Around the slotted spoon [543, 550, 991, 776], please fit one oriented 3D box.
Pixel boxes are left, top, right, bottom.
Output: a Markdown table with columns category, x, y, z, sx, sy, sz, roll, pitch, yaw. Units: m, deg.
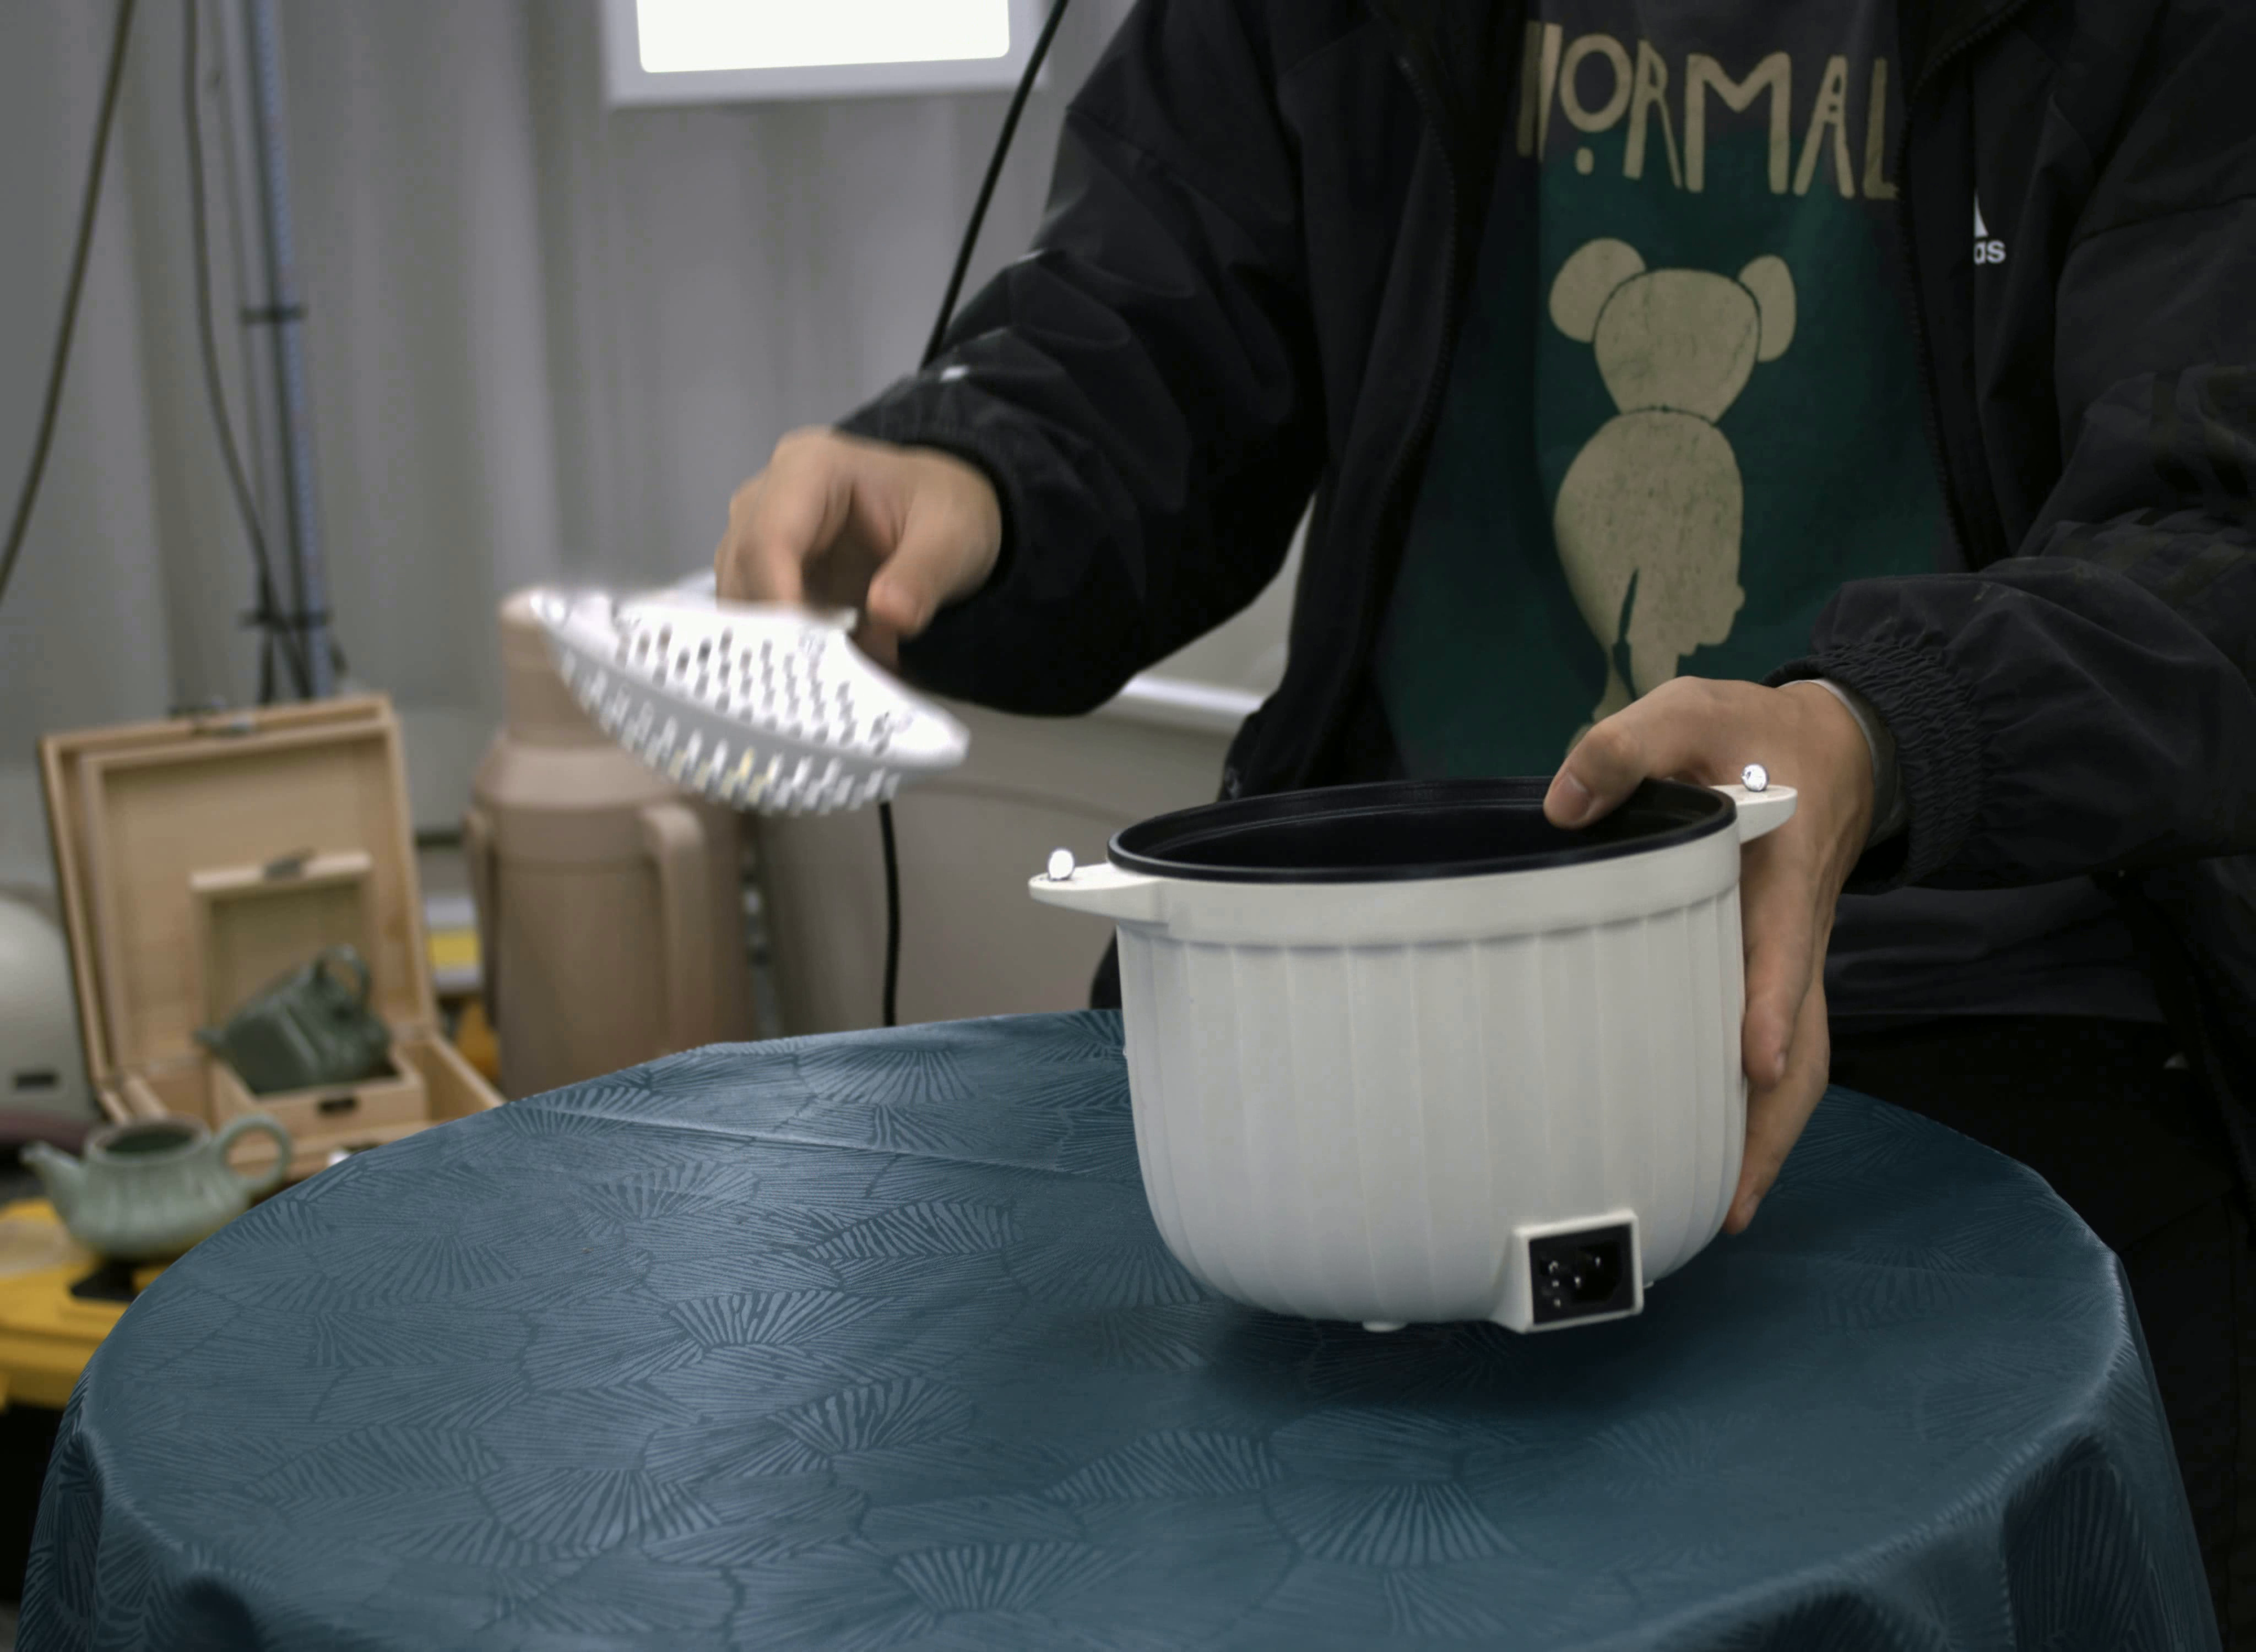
| category | x | y | z | sx | sy | sz | roll | pitch | yaw |
| --- | --- | --- | --- | --- | --- | --- | --- | --- | --- |
| slotted spoon | -0.104 | -0.058 | 1.689 | 0.136 | 0.050 | 0.349 | 19 | 11 | 0 |

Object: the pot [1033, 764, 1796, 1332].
| category | x | y | z | sx | sy | sz | roll | pitch | yaw |
| --- | --- | --- | --- | --- | --- | --- | --- | --- | --- |
| pot | 0.085 | 0.062 | 1.579 | 0.239 | 0.142 | 0.191 | -6 | 11 | -22 |
